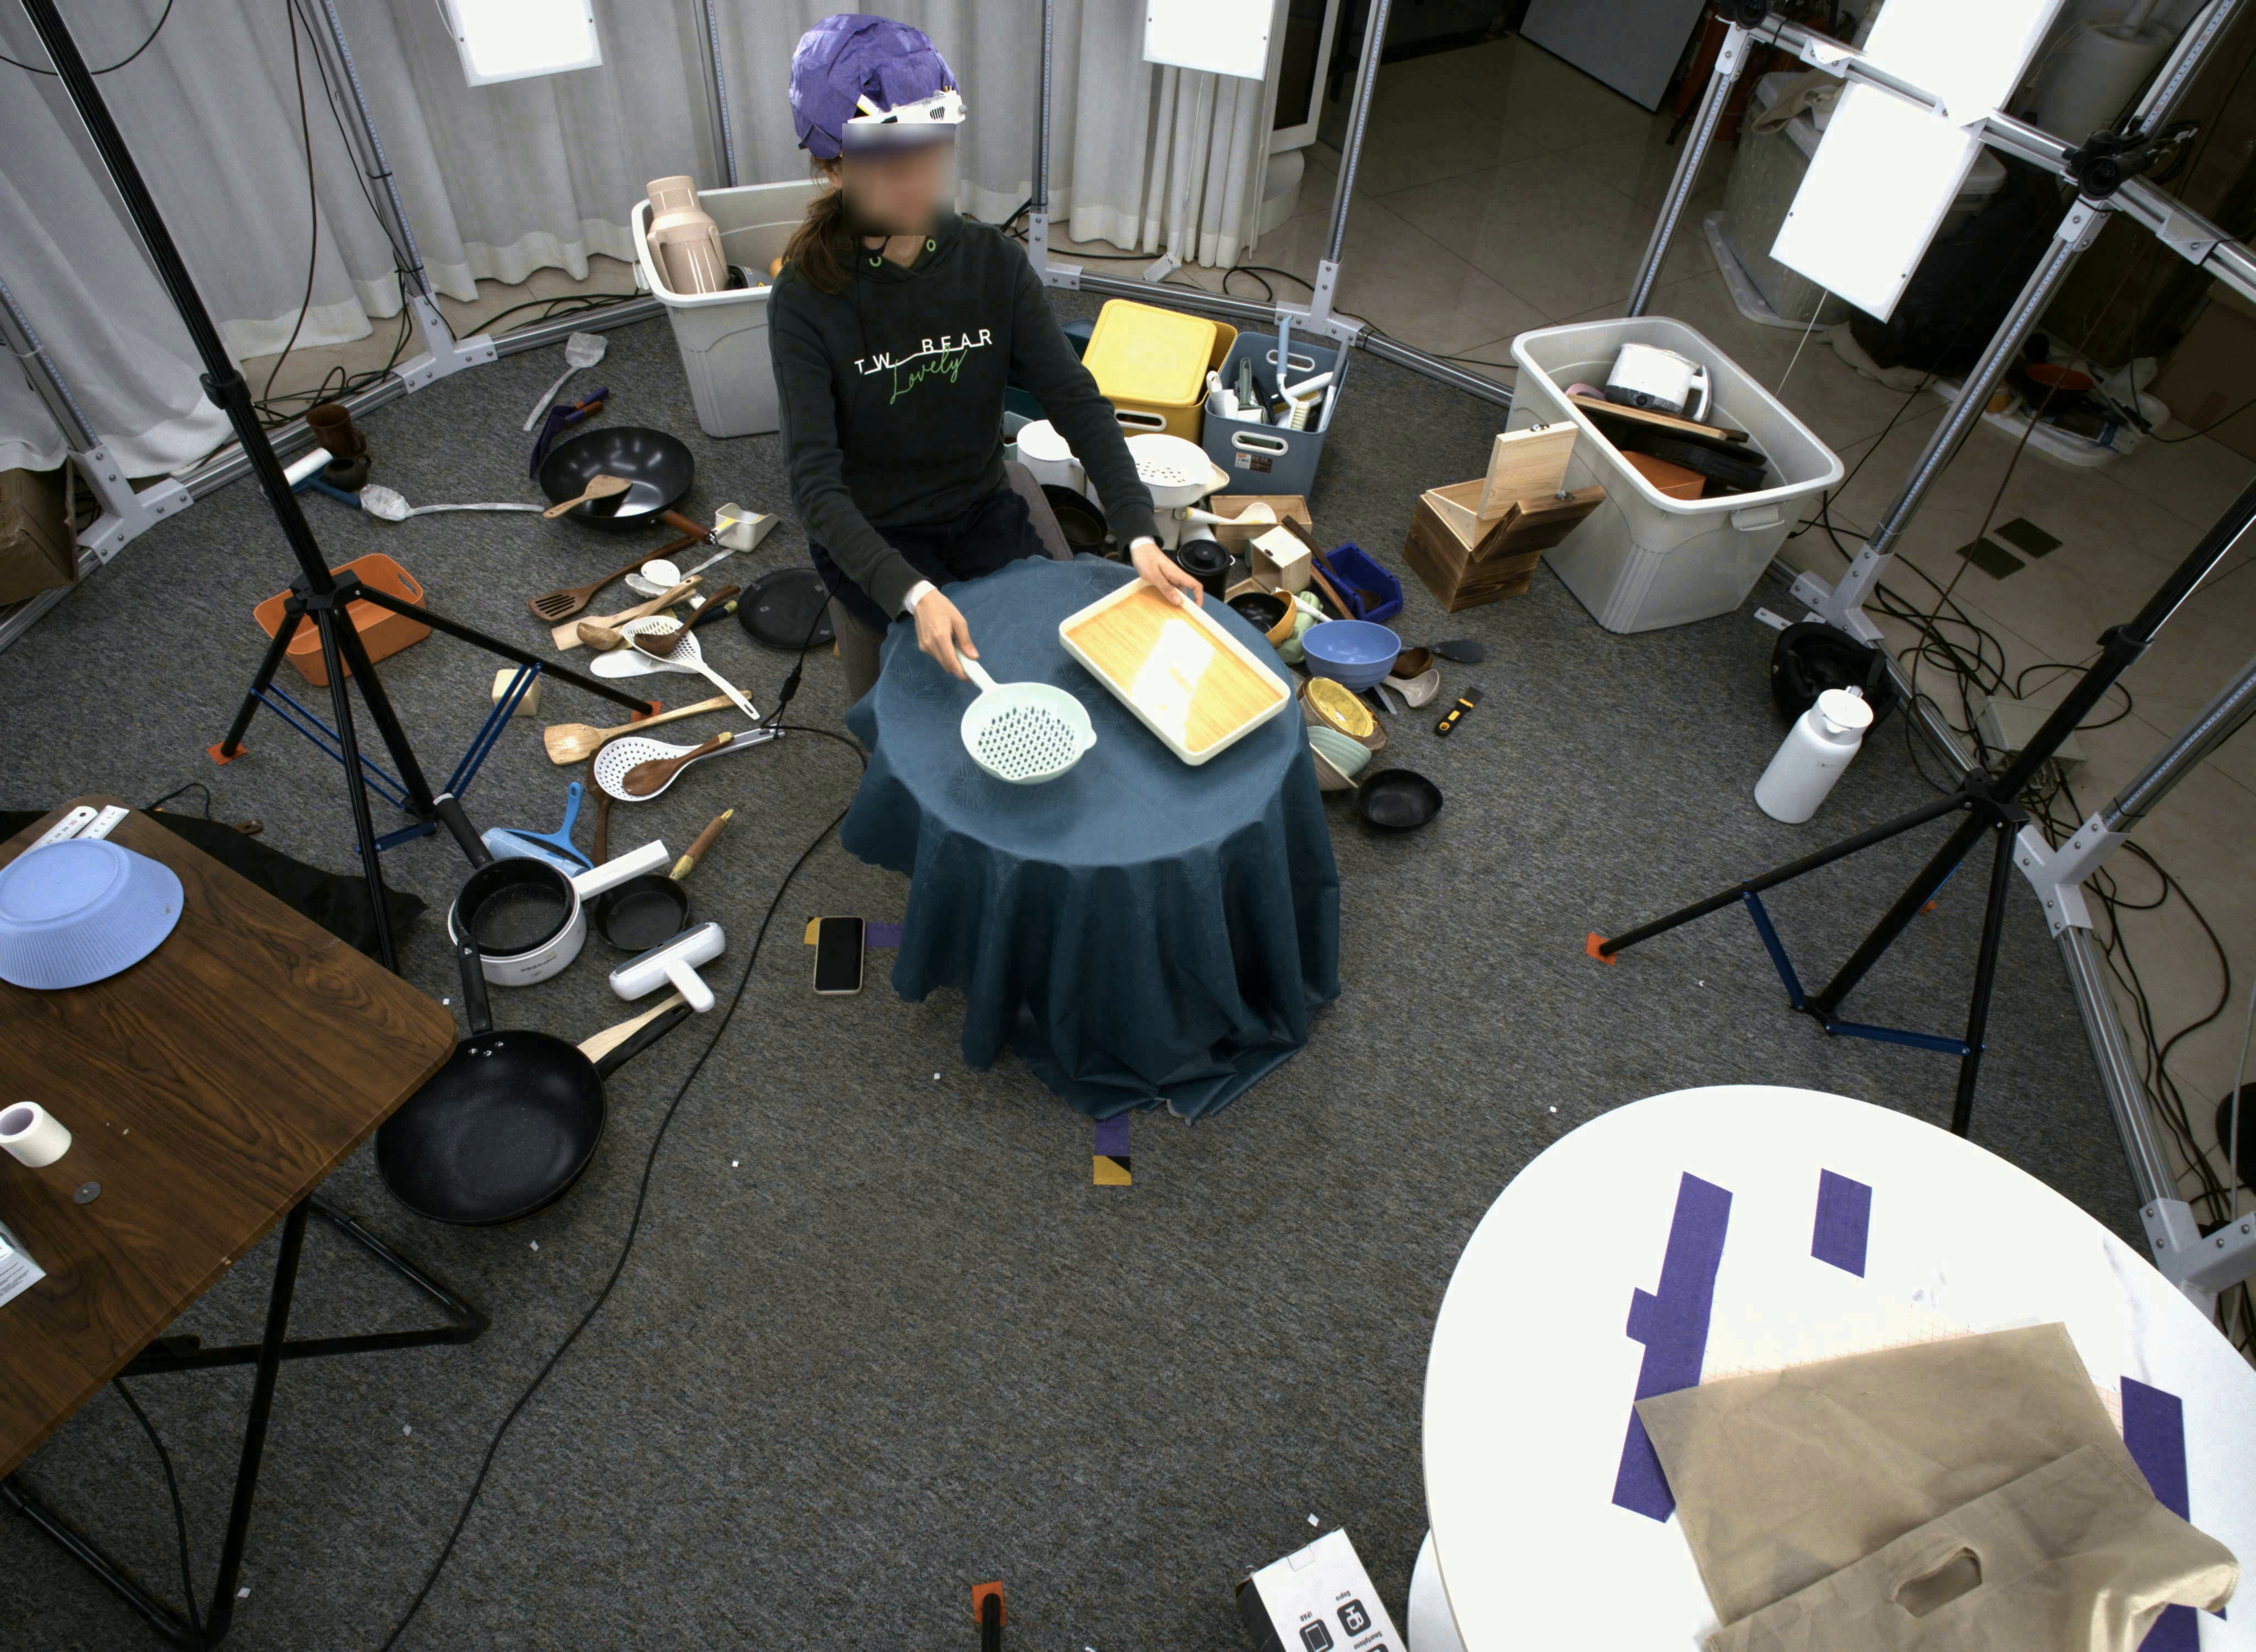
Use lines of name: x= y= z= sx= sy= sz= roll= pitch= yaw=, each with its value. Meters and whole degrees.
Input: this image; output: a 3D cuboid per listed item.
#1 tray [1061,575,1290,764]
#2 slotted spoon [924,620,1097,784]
tray: x=0.065 y=-0.227 z=1.819 sx=0.193 sy=0.027 sz=0.305 roll=-33 pitch=62 yaw=-24
slotted spoon: x=-0.187 y=-0.184 z=1.748 sx=0.170 sy=0.073 sz=0.365 roll=-25 pitch=61 yaw=-23
